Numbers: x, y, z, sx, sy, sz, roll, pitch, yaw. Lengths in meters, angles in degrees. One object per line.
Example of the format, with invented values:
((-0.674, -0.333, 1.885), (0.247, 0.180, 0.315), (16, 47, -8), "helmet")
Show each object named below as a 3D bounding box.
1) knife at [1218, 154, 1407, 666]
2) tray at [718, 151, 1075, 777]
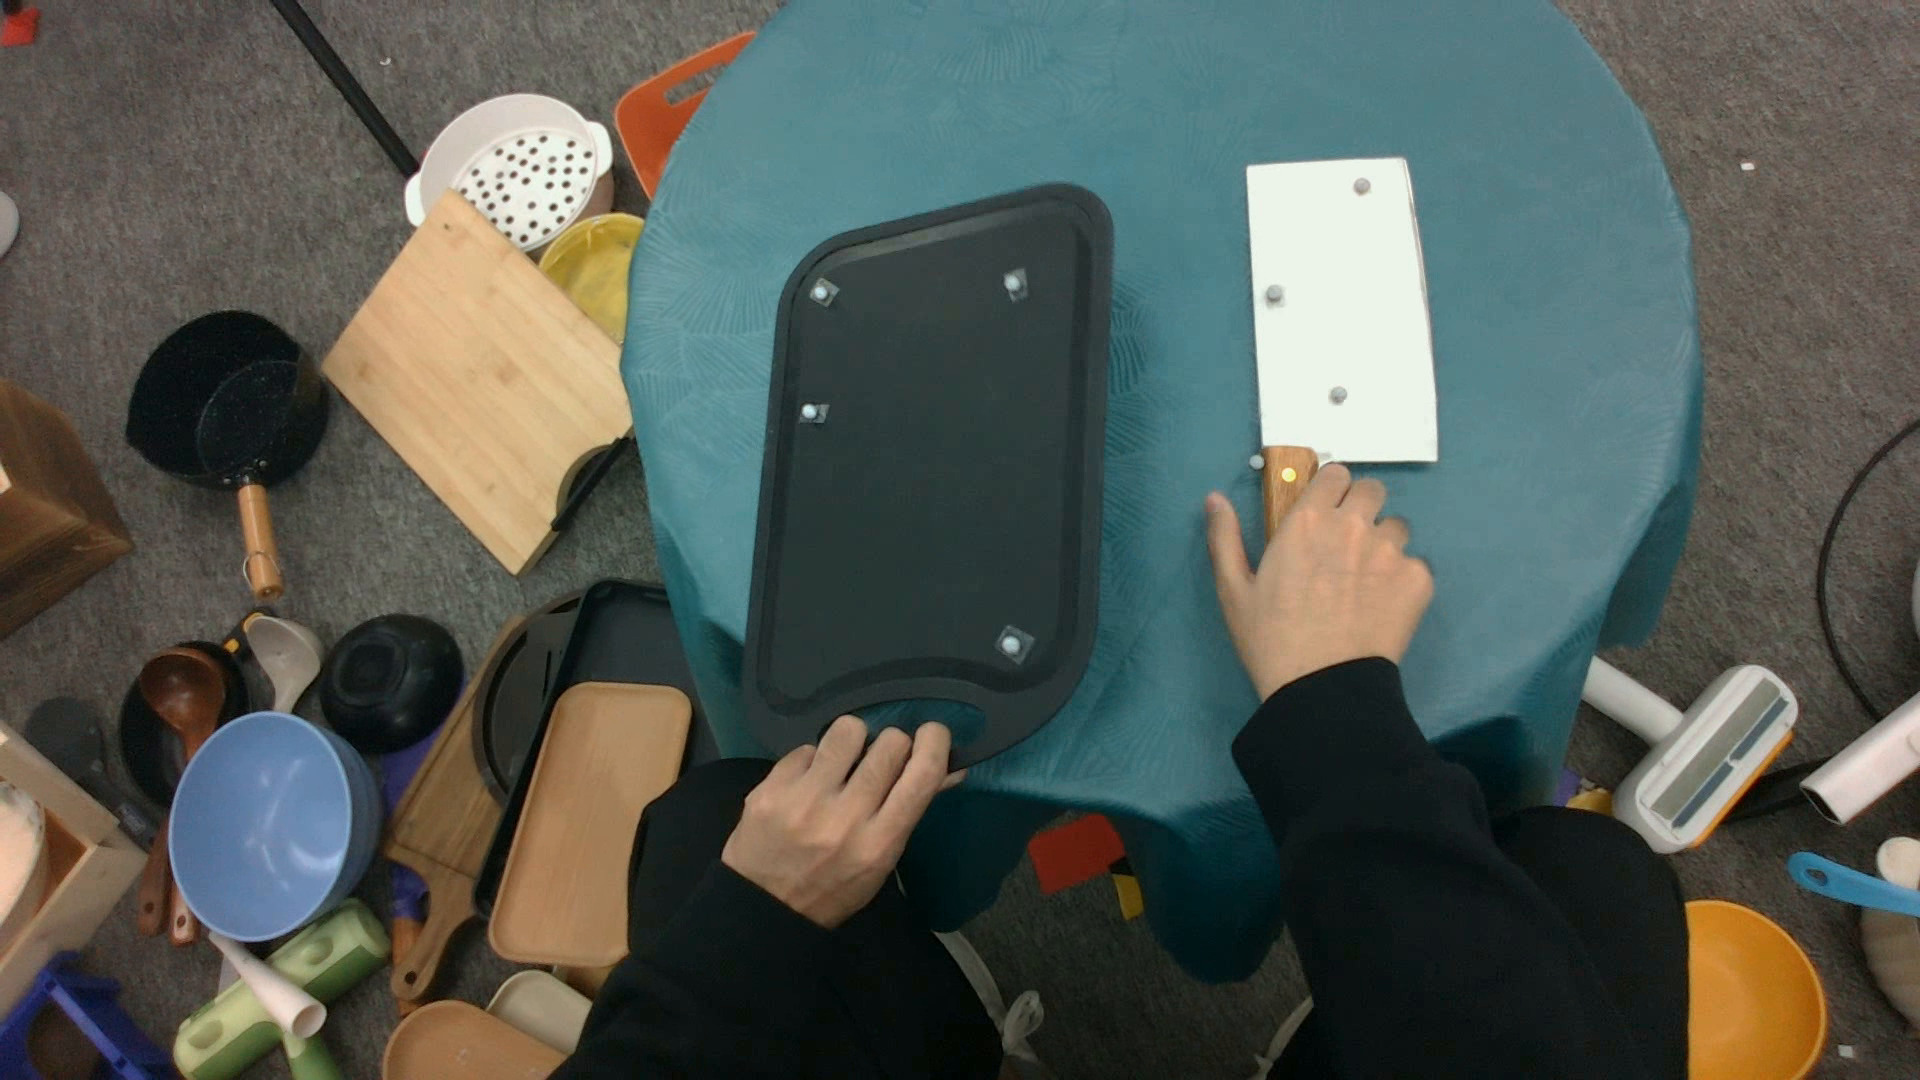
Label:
((0.190, -0.080, 0.739), (0.093, 0.021, 0.307), (0, 68, 5), "knife")
((-0.036, -0.043, 0.701), (0.210, 0.010, 0.326), (-11, 65, 32), "tray")
